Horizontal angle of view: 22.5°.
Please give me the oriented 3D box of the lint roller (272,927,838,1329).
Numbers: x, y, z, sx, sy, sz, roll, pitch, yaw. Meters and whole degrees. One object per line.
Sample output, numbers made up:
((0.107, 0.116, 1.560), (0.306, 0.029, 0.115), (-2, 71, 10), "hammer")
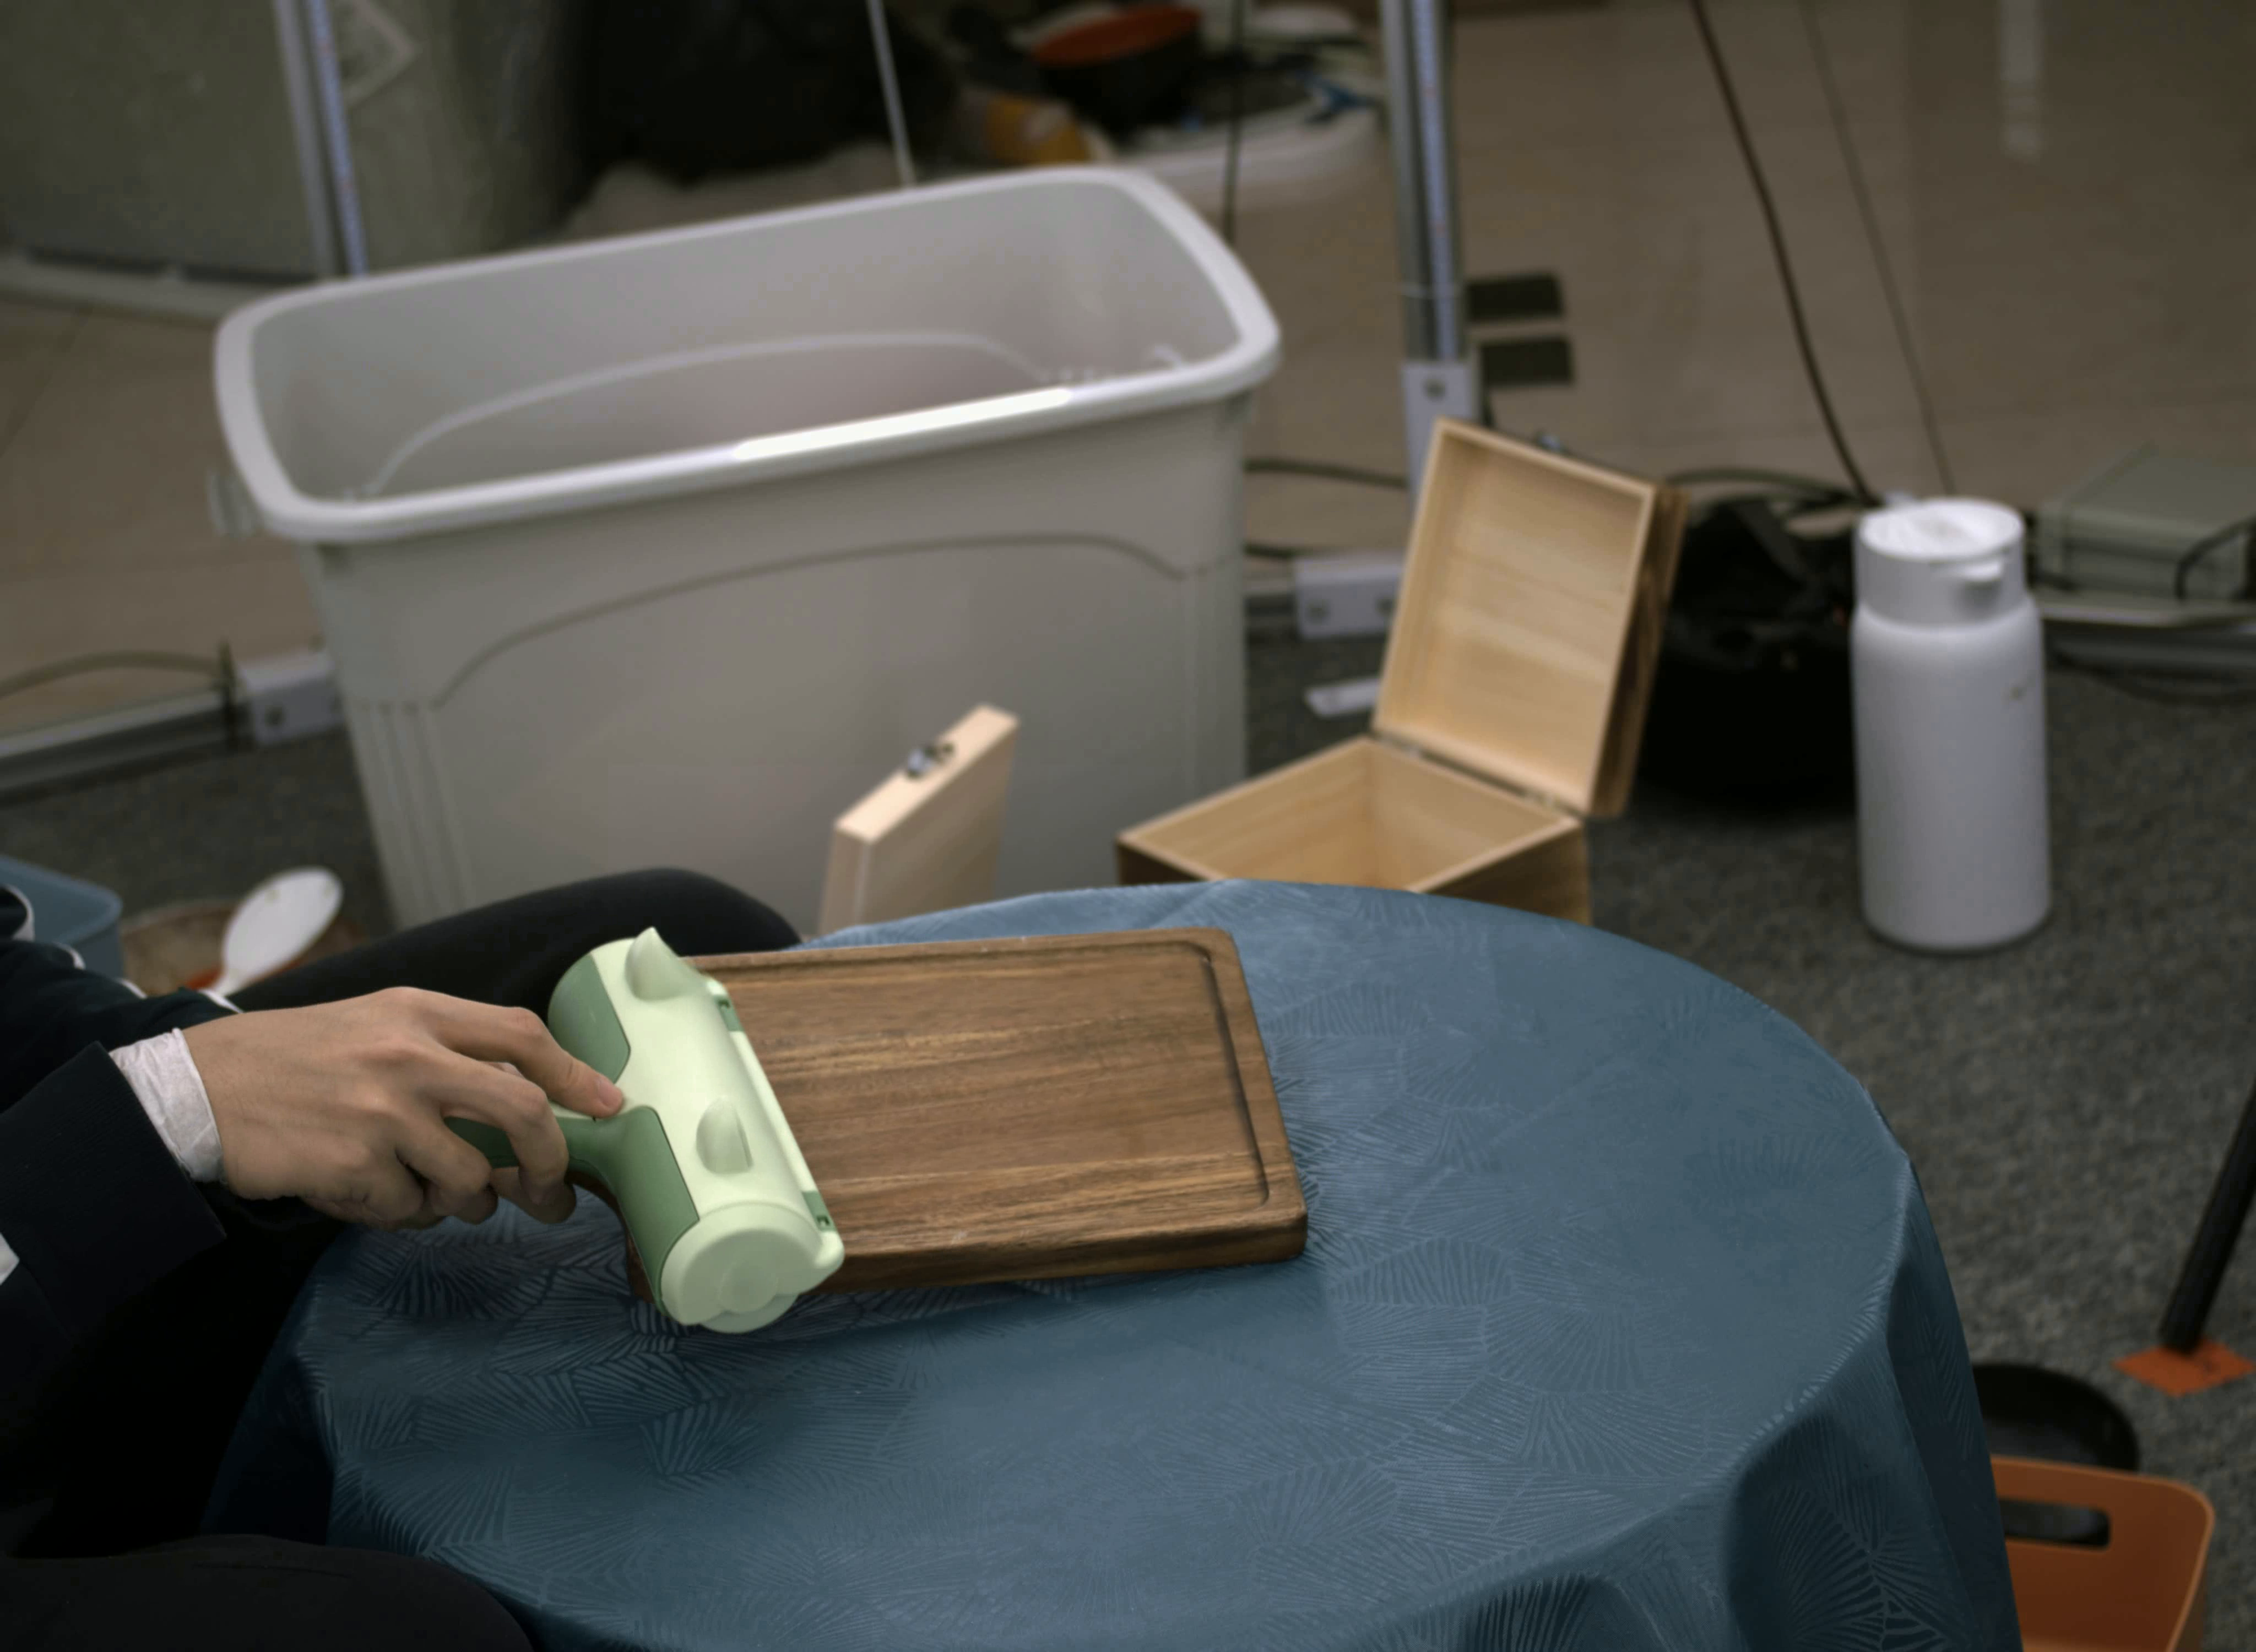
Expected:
((-0.211, 0.095, 2.034), (0.183, 0.083, 0.195), (10, 26, -25), "lint roller")

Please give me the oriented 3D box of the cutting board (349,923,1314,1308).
((-0.118, 0.109, 2.138), (0.351, 0.023, 0.197), (-4, 34, -7), "cutting board")
